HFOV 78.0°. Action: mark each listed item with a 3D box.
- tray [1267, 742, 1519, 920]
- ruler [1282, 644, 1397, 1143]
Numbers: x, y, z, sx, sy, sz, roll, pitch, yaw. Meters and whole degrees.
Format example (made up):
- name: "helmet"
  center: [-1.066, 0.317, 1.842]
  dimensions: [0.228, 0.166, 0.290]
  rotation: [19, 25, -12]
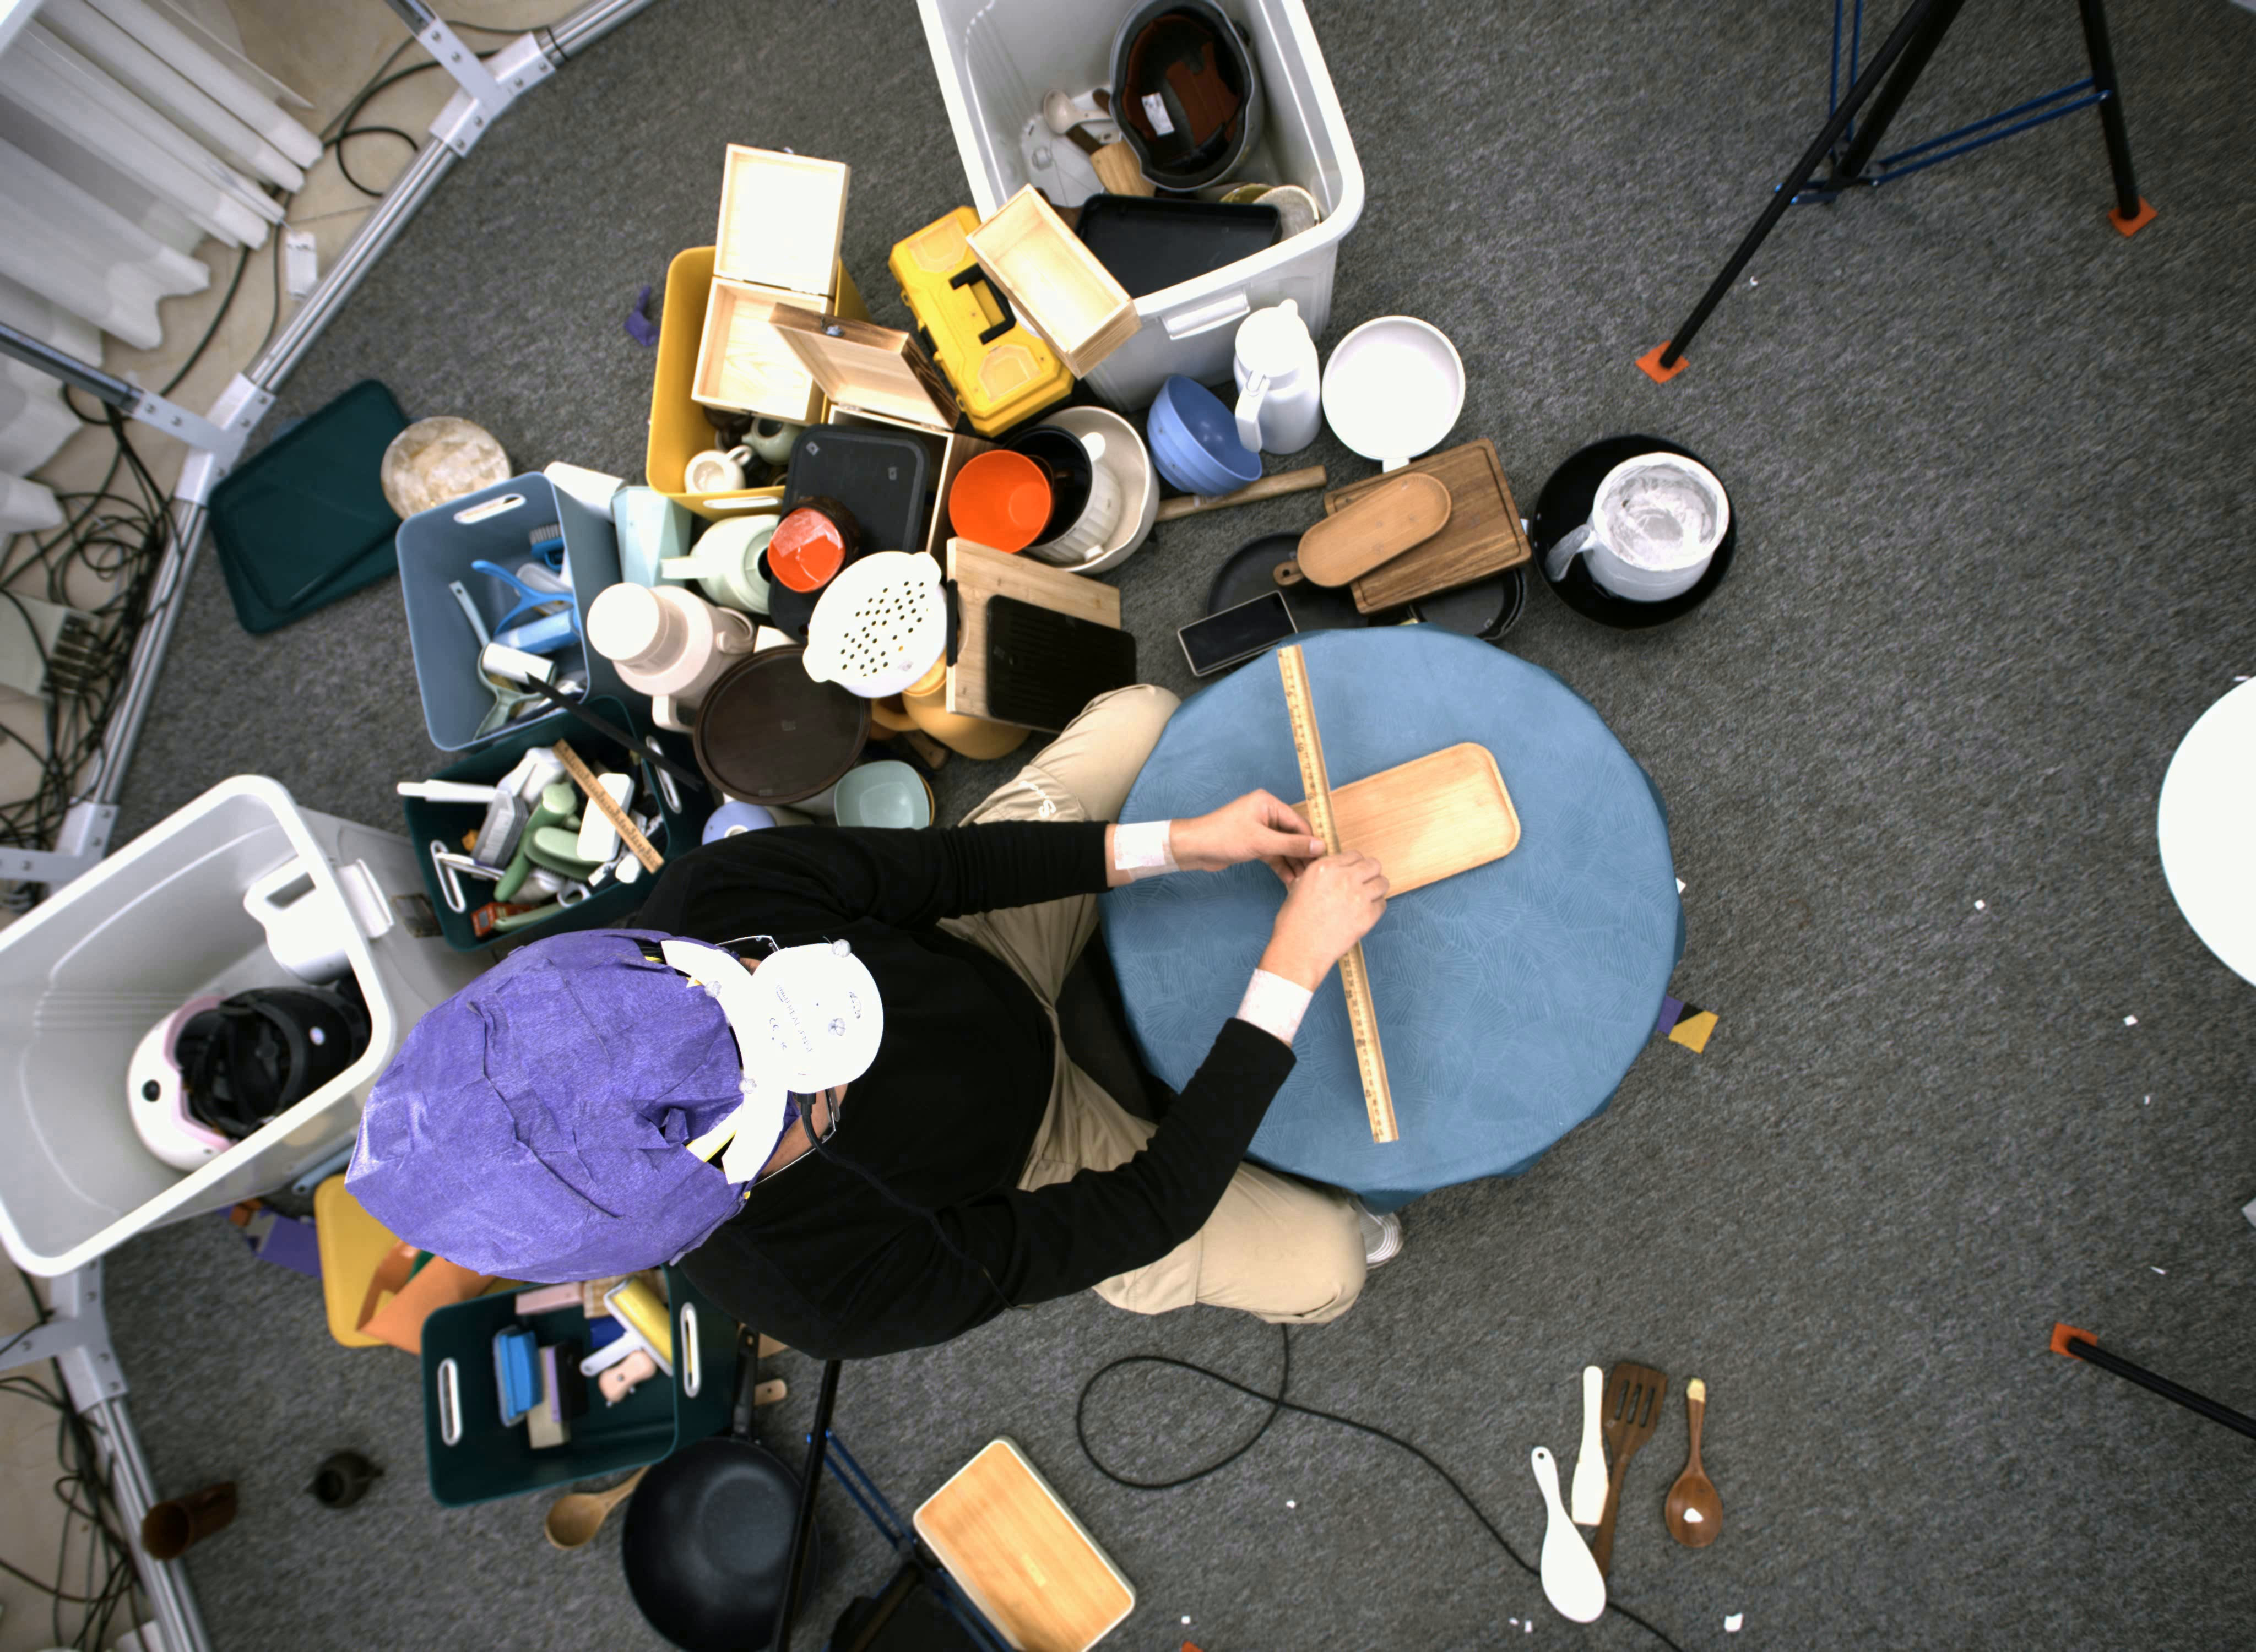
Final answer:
- name: "tray"
  center: [0.278, 0.005, 1.454]
  dimensions: [0.252, 0.023, 0.129]
  rotation: [-19, 81, 10]
- name: "ruler"
  center: [0.209, 0.067, 1.370]
  dimensions: [0.027, 0.006, 0.500]
  rotation: [-10, 91, 24]
